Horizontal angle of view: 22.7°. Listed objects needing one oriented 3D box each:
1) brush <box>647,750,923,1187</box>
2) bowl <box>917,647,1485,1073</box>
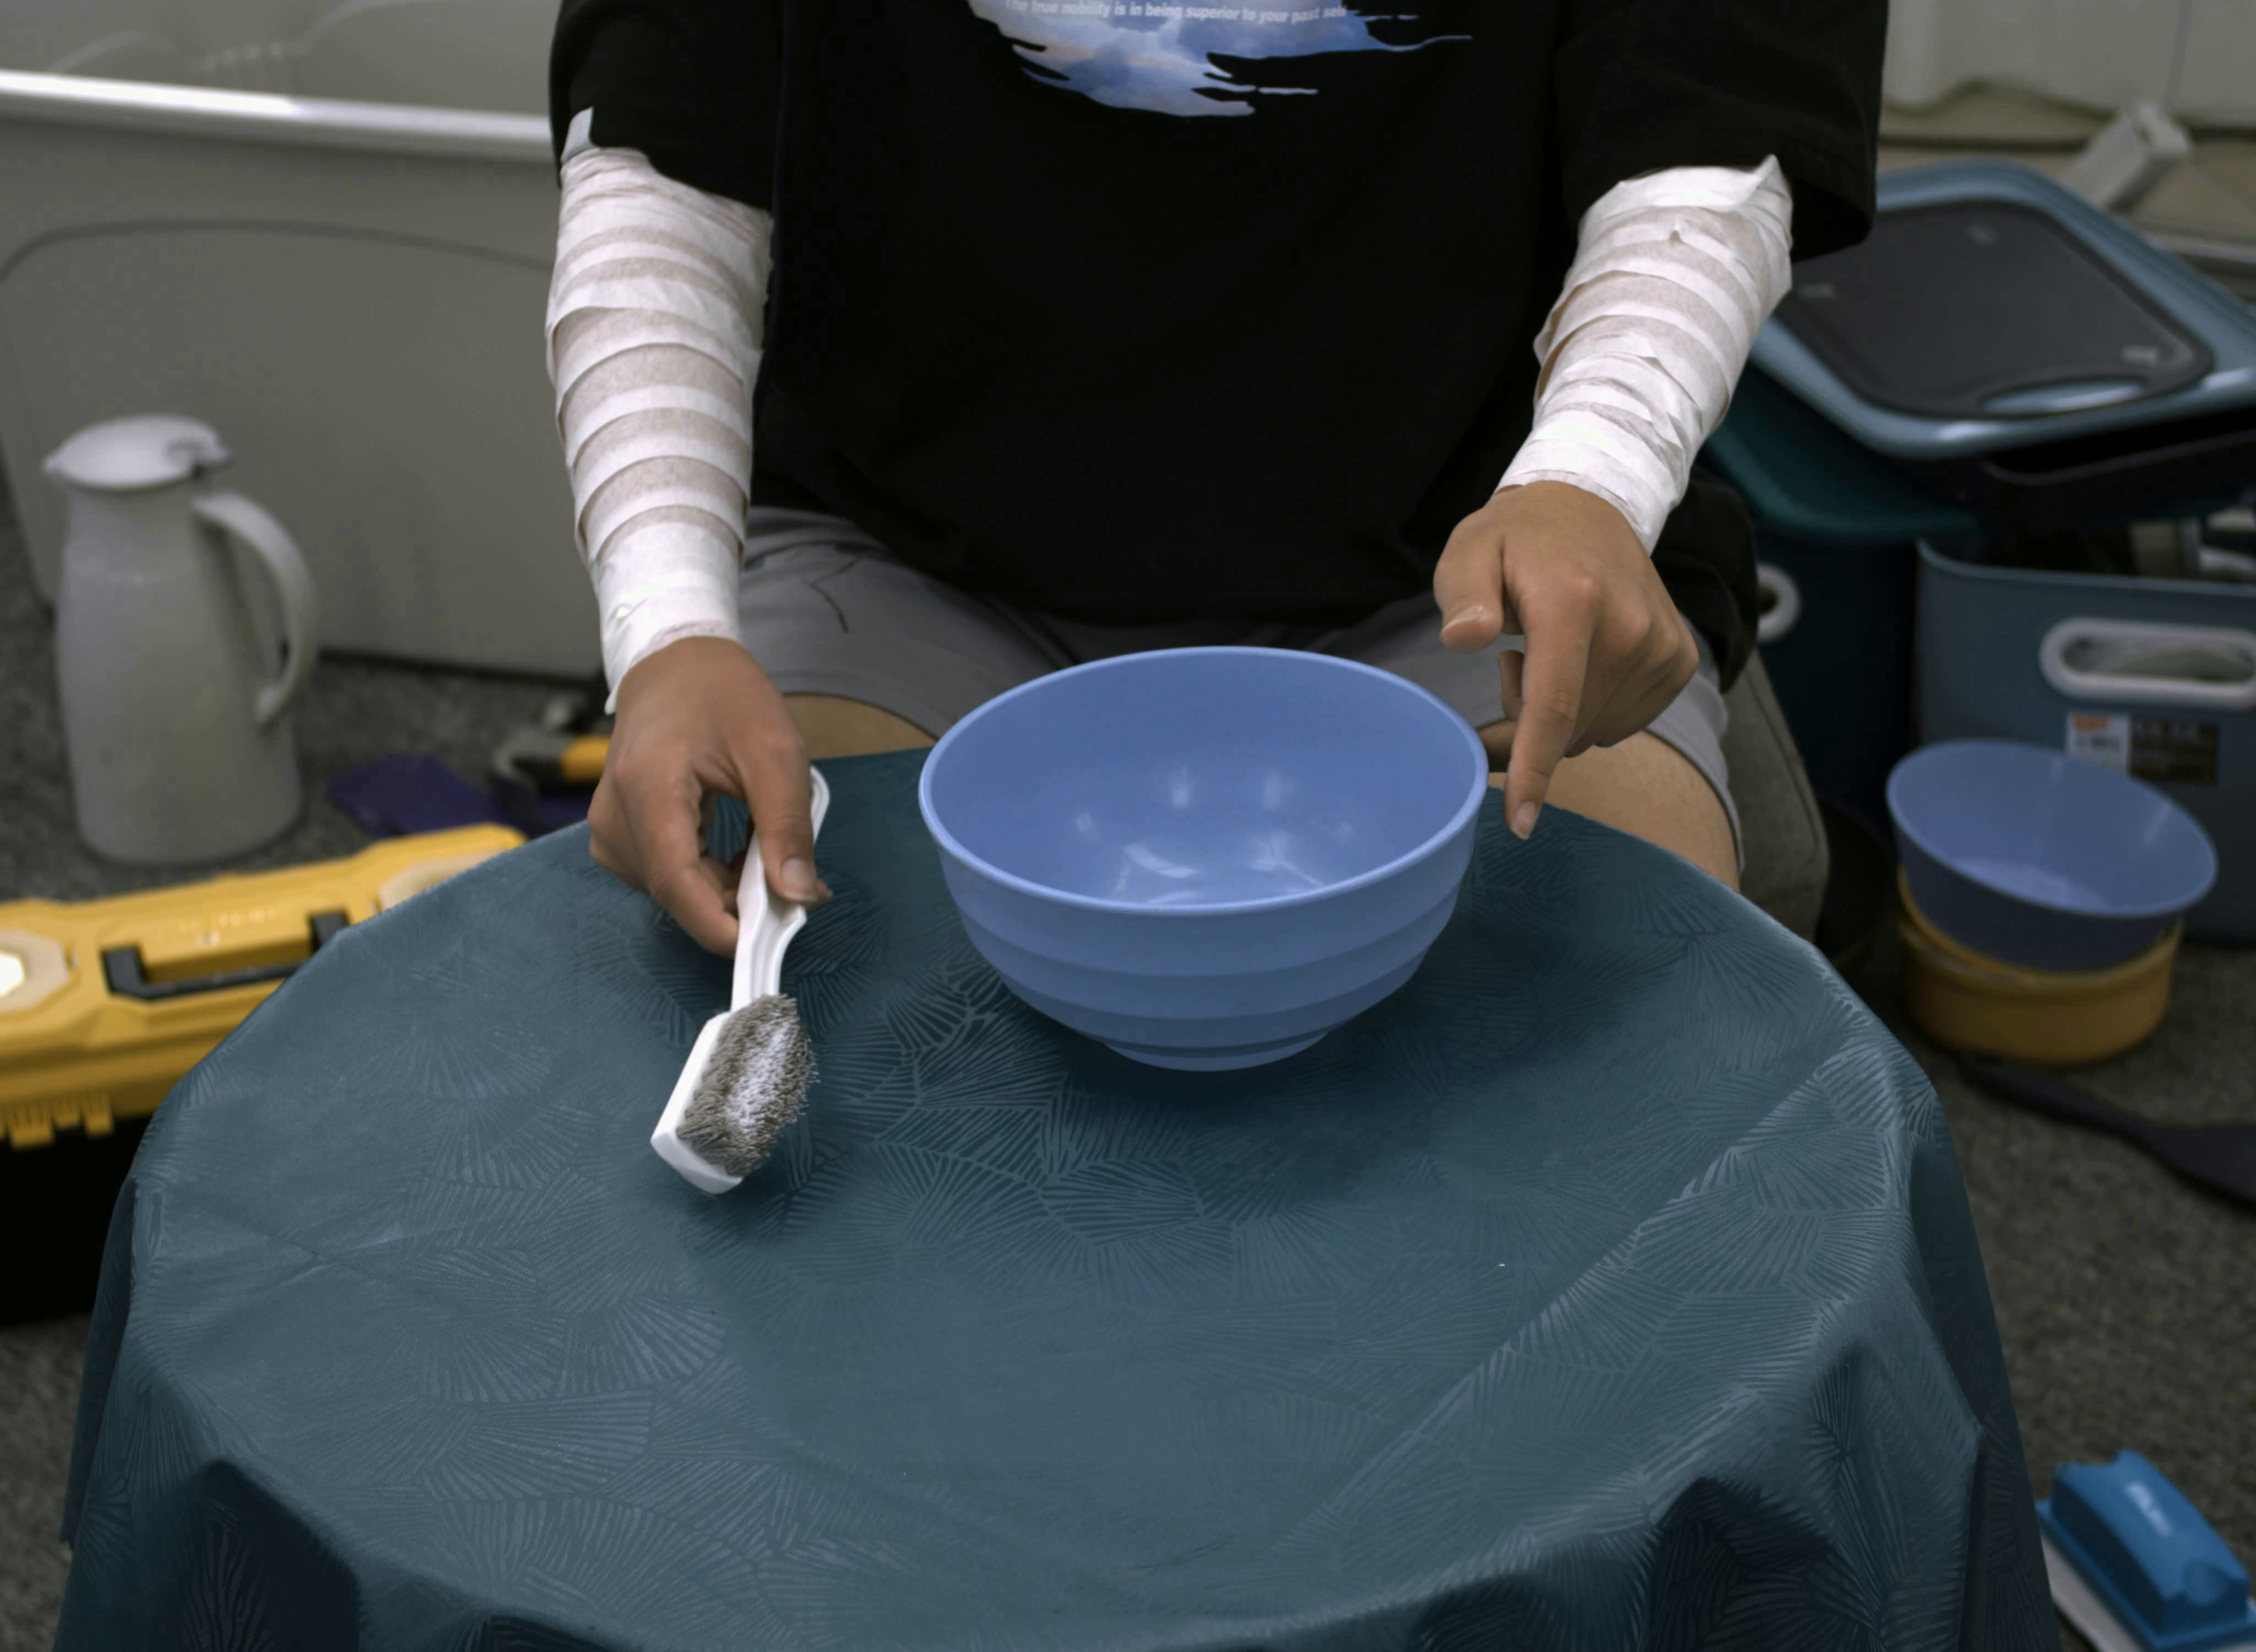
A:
[{"bbox_3d":[-0.107,0.037,1.939,0.034,0.049,0.248,34,39,-7],"label":"brush"},{"bbox_3d":[0.028,0.022,1.949,0.195,0.094,0.199,-3,27,2],"label":"bowl"}]
